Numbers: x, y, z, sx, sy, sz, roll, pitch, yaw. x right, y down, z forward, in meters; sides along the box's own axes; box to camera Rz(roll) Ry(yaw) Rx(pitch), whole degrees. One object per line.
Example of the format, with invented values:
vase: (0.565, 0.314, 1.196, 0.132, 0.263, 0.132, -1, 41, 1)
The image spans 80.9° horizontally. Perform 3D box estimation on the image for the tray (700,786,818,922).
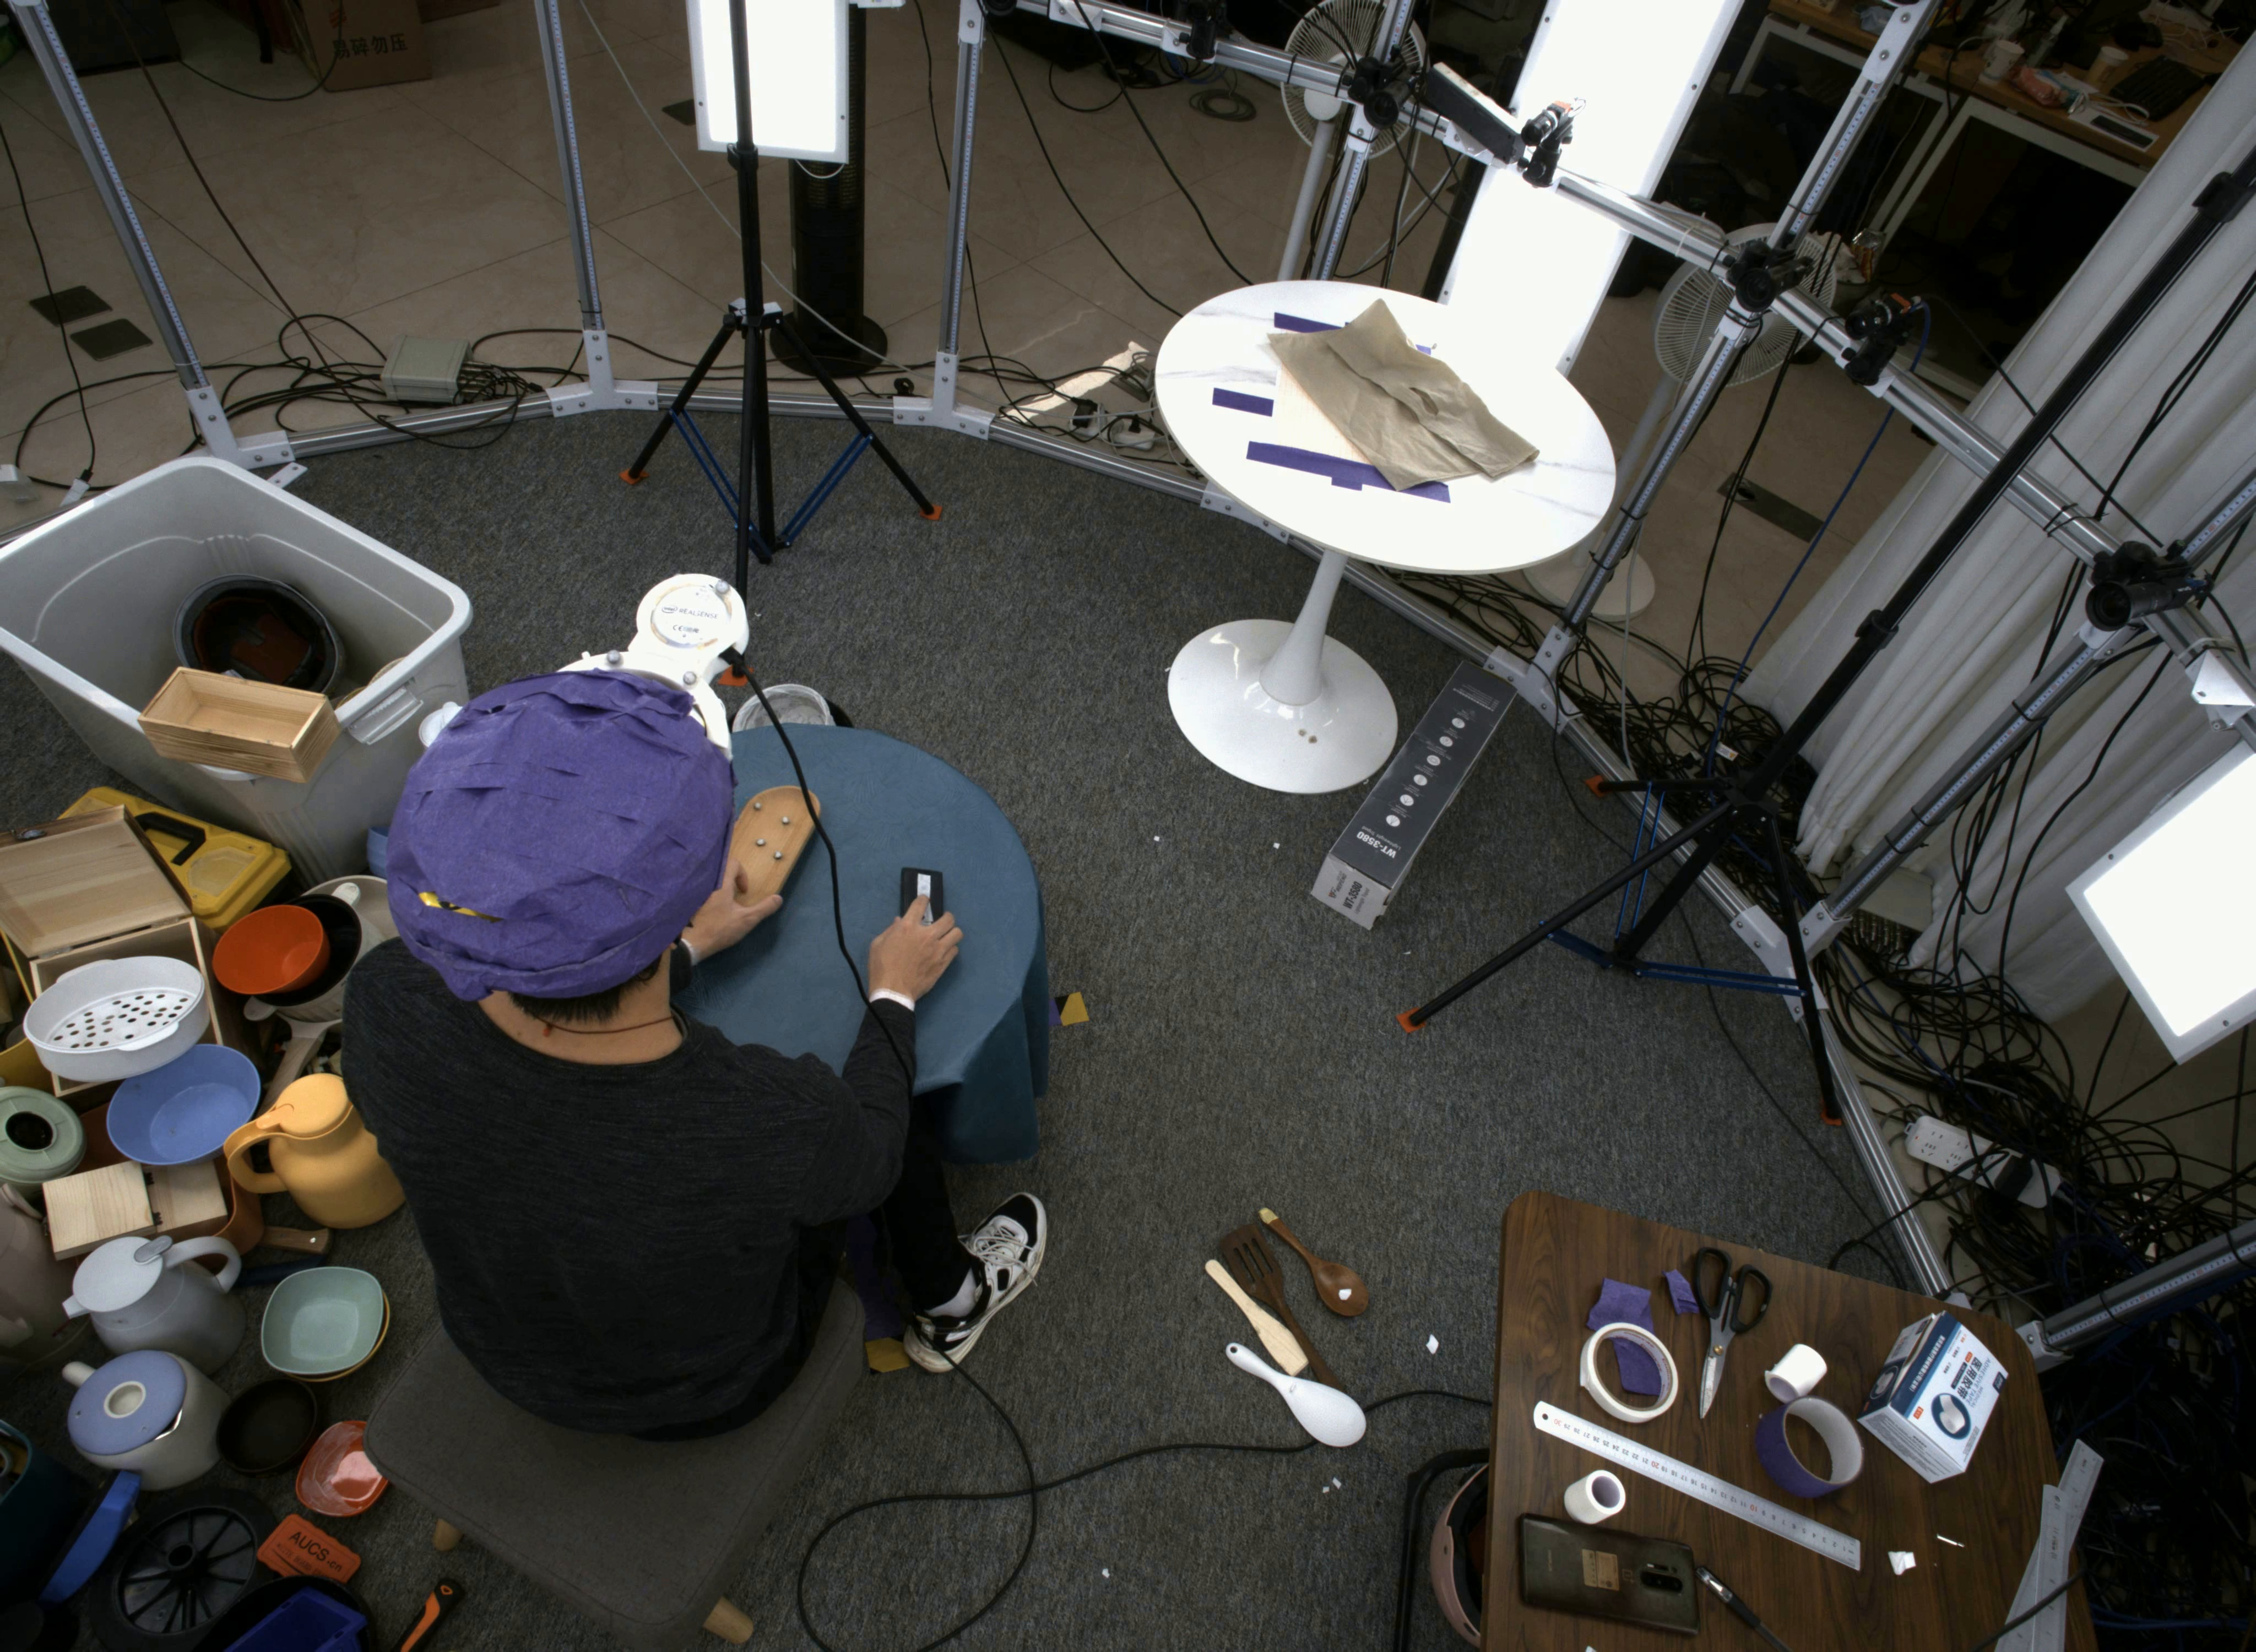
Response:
tray: (-0.469, 0.031, 1.656, 0.100, 0.021, 0.228, 8, 48, 5)

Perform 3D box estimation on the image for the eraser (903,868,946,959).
eraser: (-0.261, 0.109, 1.660, 0.053, 0.031, 0.123, 3, 53, -14)
